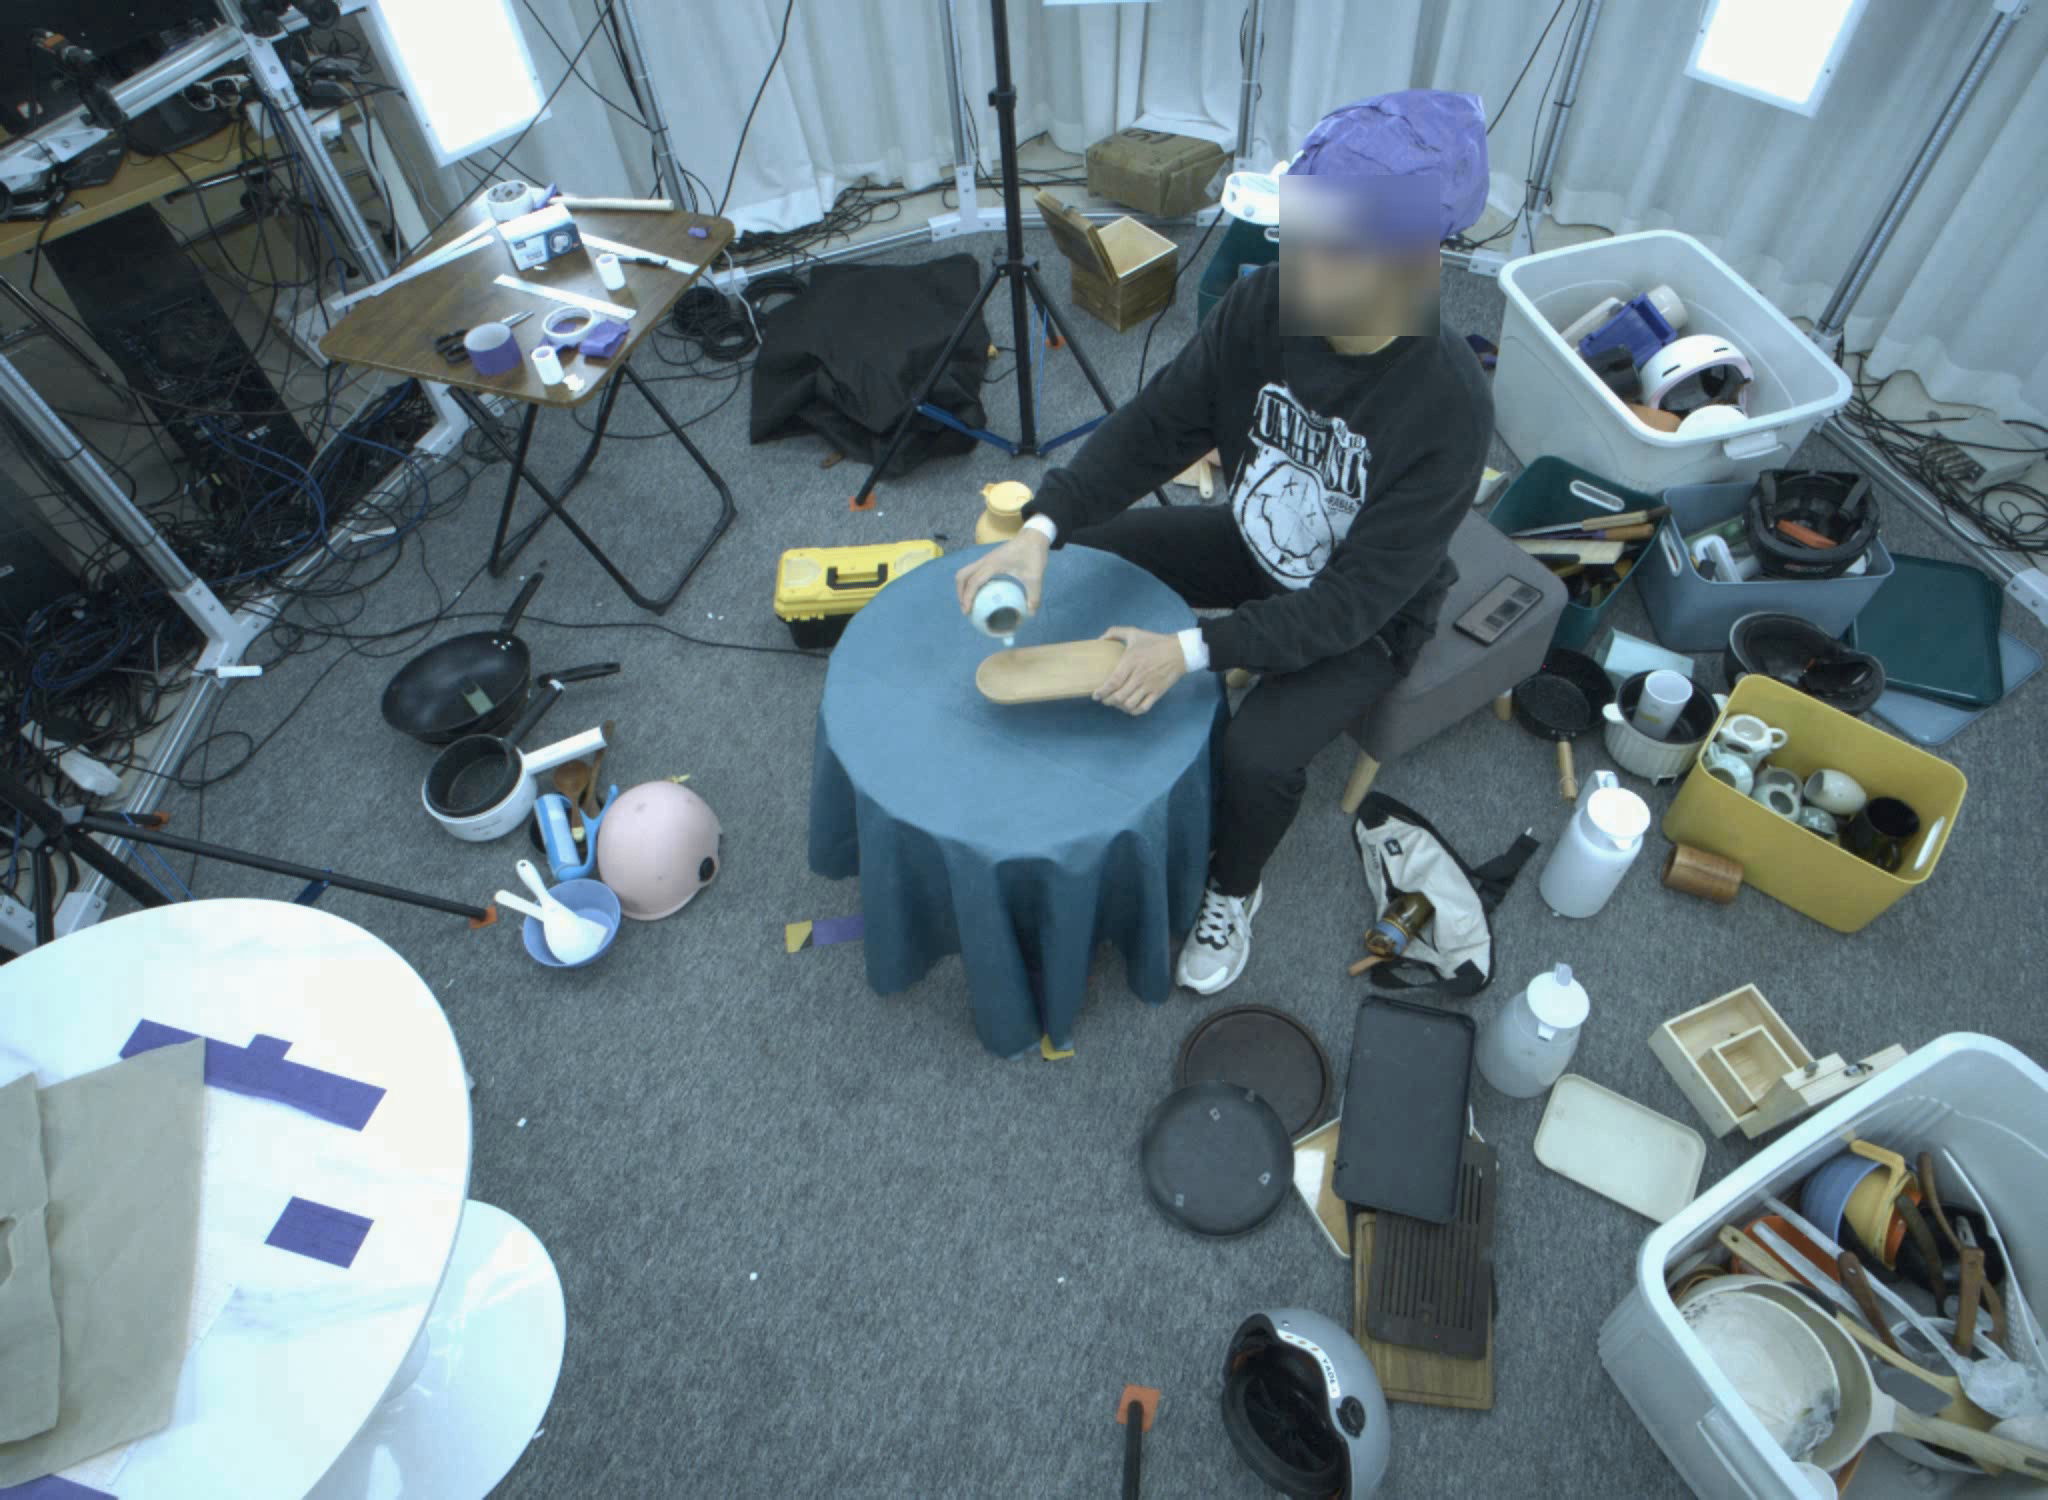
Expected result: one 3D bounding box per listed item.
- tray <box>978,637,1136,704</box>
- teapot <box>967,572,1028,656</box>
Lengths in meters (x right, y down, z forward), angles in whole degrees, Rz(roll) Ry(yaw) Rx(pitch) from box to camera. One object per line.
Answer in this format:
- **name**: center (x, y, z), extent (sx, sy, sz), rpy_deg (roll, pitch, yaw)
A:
- **tray**: center (0.048, -0.114, 1.783), extent (0.231, 0.020, 0.100), rpy_deg (-5, 54, 3)
- **teapot**: center (-0.039, -0.204, 1.764), extent (0.089, 0.146, 0.073), rpy_deg (-19, 51, -6)
